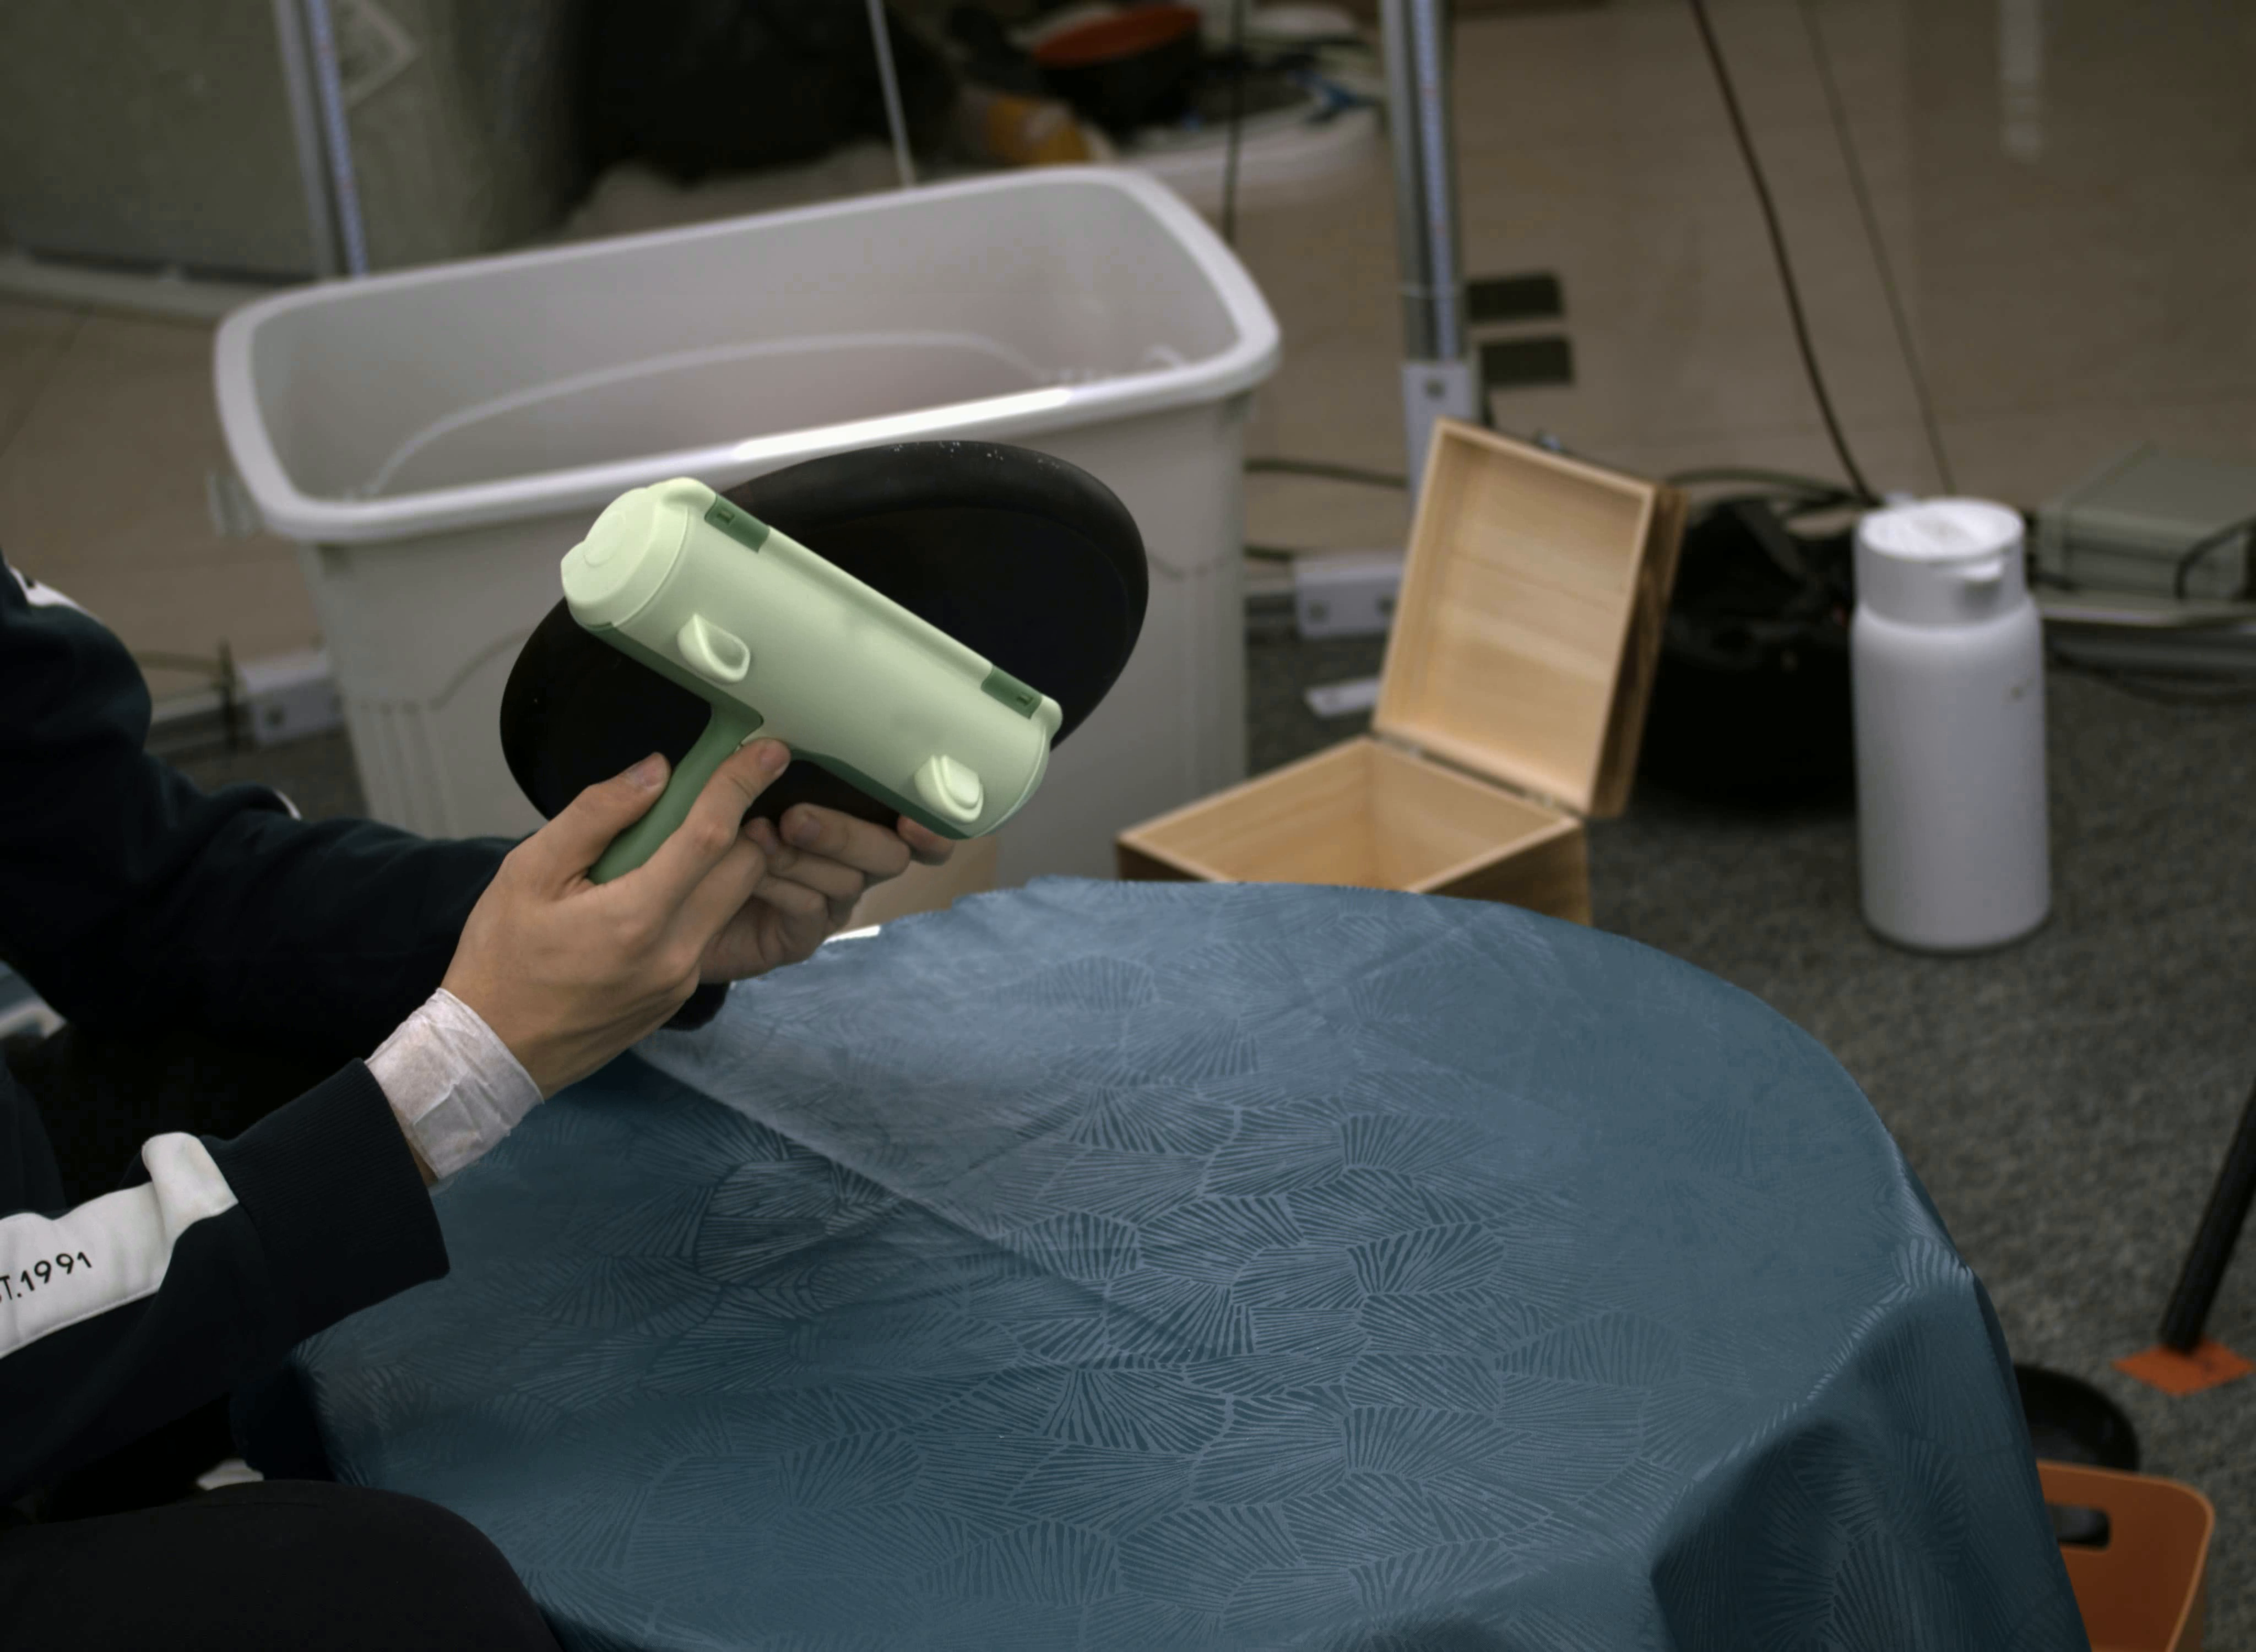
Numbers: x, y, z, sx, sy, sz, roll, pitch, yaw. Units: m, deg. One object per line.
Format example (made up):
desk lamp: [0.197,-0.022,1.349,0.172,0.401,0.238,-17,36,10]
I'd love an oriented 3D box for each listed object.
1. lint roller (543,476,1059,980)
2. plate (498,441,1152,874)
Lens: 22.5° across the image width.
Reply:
lint roller: [-0.141,-0.009,2.011,0.200,0.184,0.081,31,8,-37]
plate: [-0.110,-0.057,2.108,0.254,0.259,0.028,-13,61,-14]
